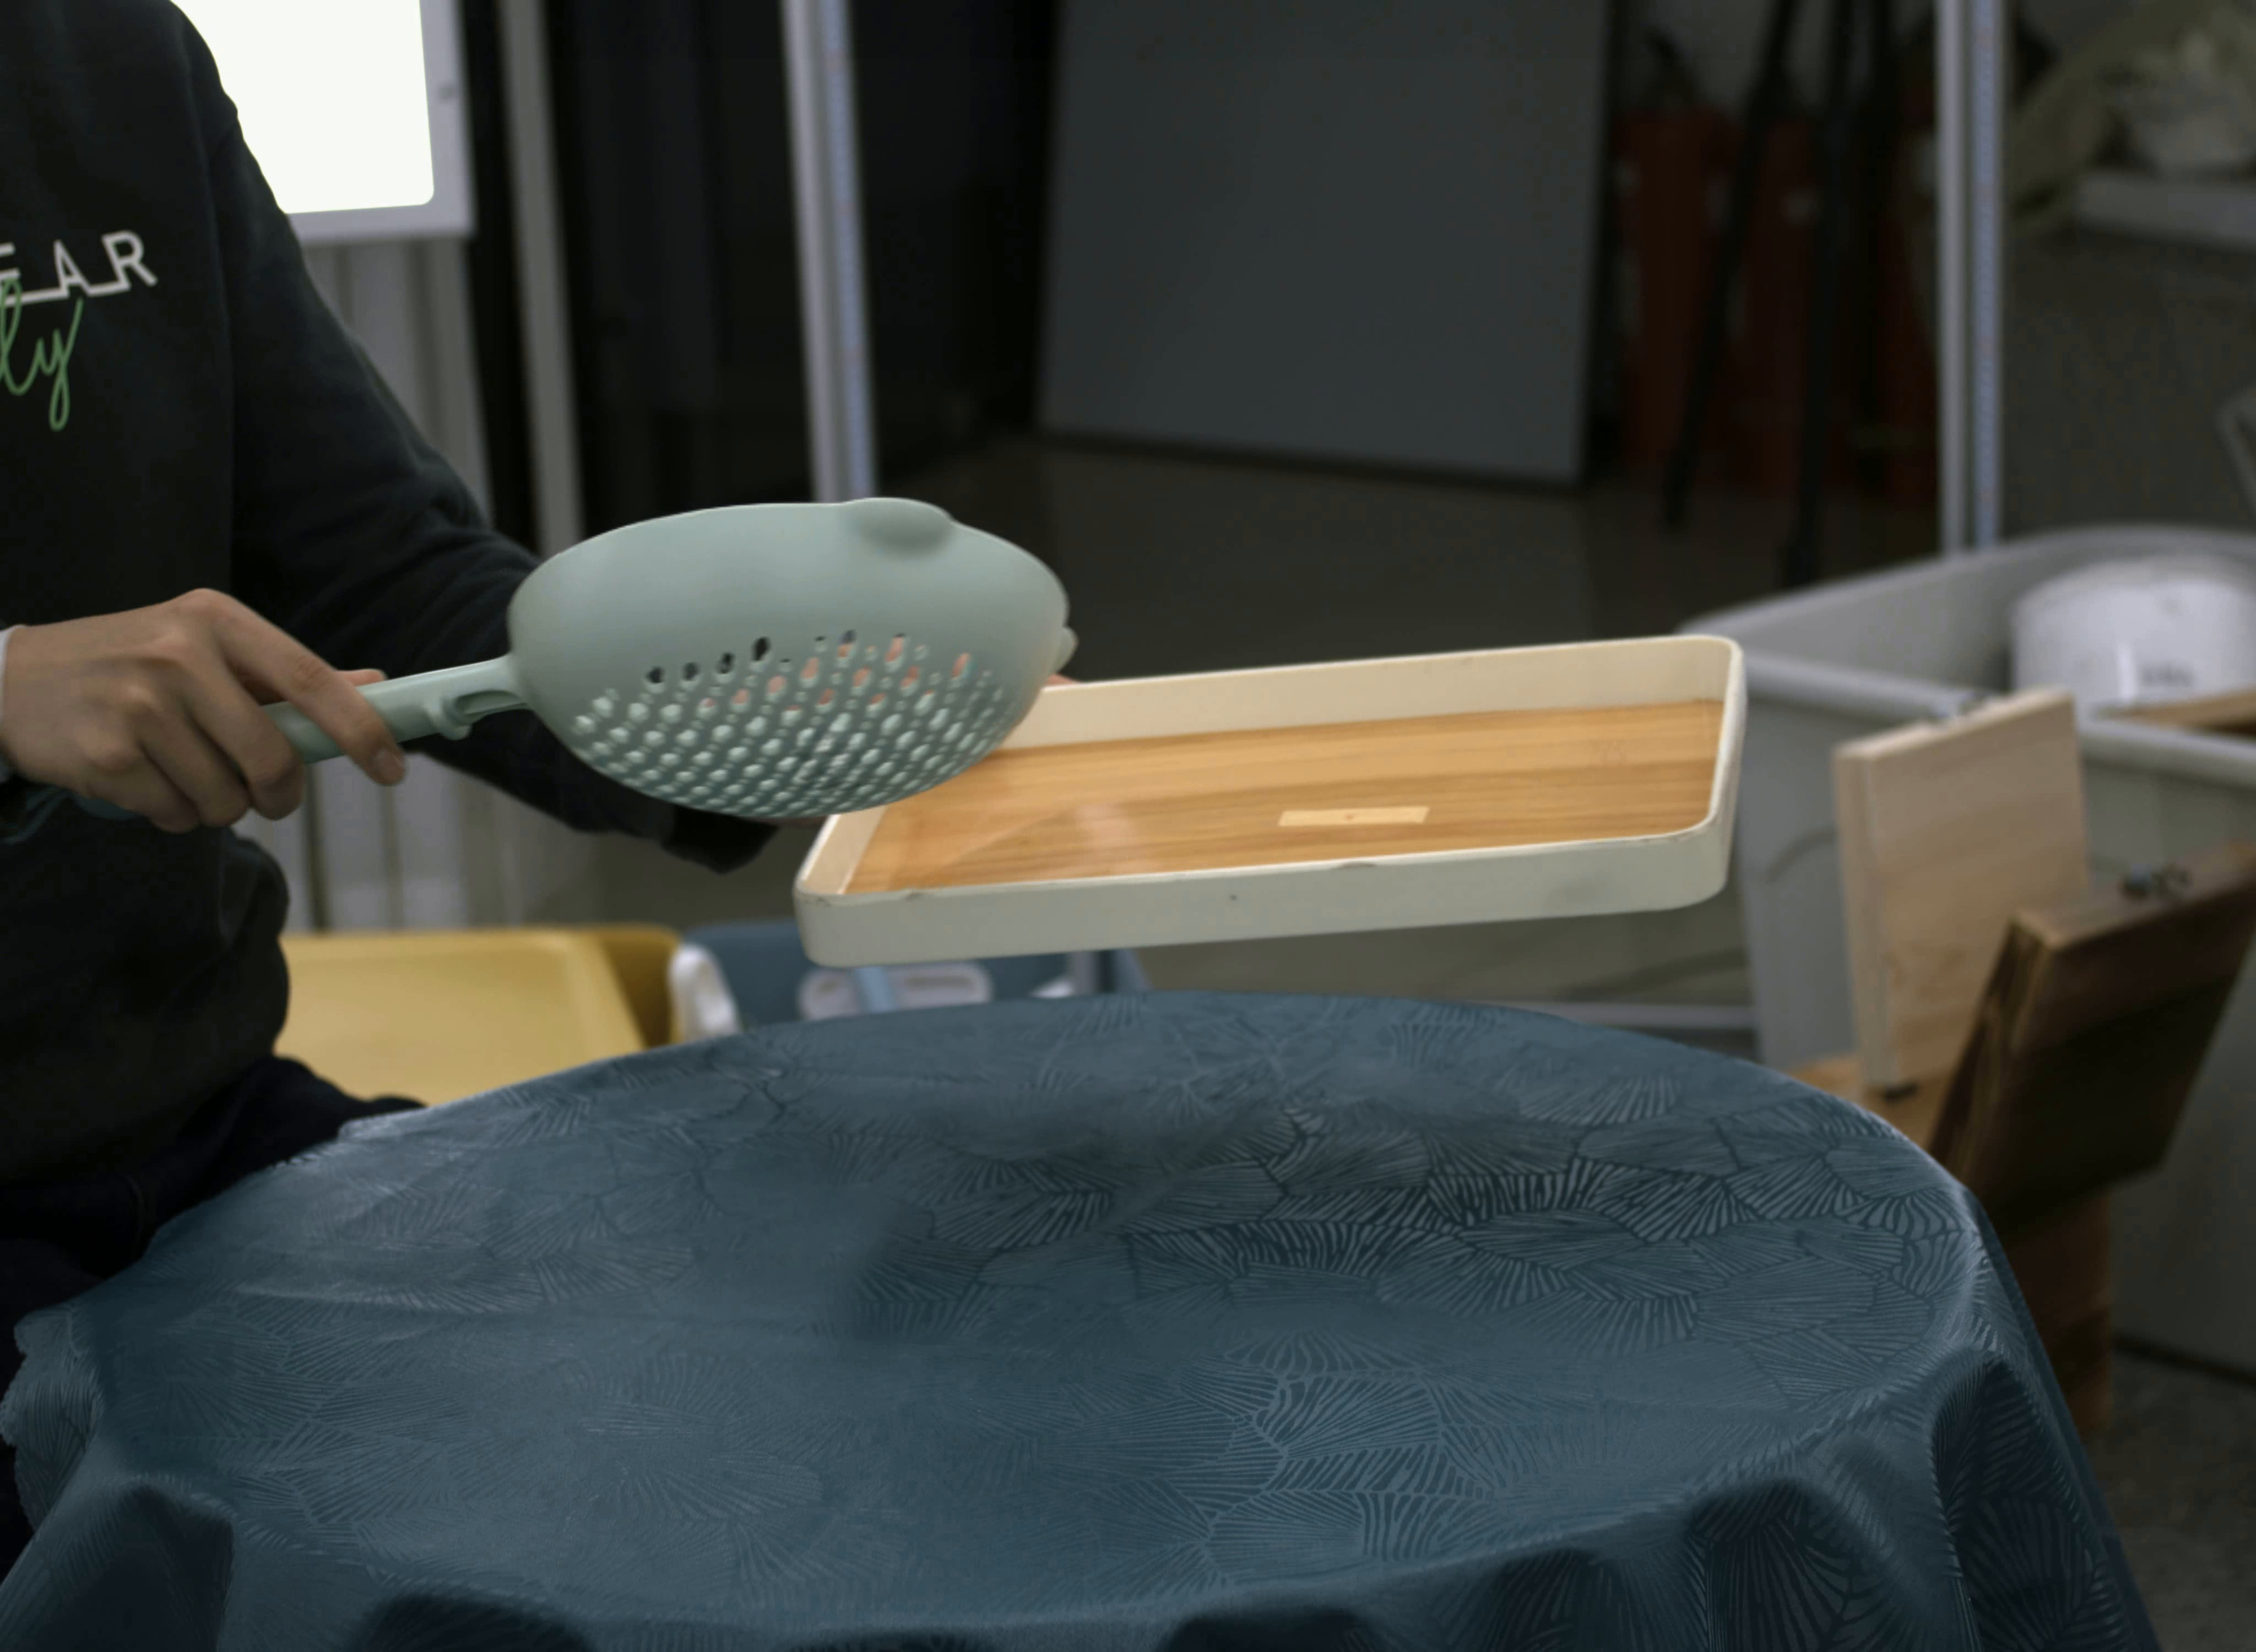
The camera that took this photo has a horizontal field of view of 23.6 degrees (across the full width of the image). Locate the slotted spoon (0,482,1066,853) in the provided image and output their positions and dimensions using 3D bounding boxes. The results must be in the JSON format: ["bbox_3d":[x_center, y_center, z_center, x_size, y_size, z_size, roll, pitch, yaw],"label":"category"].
[{"bbox_3d":[-0.194,-0.037,1.670,0.359,0.076,0.167,-3,-21,22],"label":"slotted spoon"}]

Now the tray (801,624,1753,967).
[{"bbox_3d":[0.053,-0.011,1.765,0.298,0.027,0.191,-5,21,12],"label":"tray"}]
